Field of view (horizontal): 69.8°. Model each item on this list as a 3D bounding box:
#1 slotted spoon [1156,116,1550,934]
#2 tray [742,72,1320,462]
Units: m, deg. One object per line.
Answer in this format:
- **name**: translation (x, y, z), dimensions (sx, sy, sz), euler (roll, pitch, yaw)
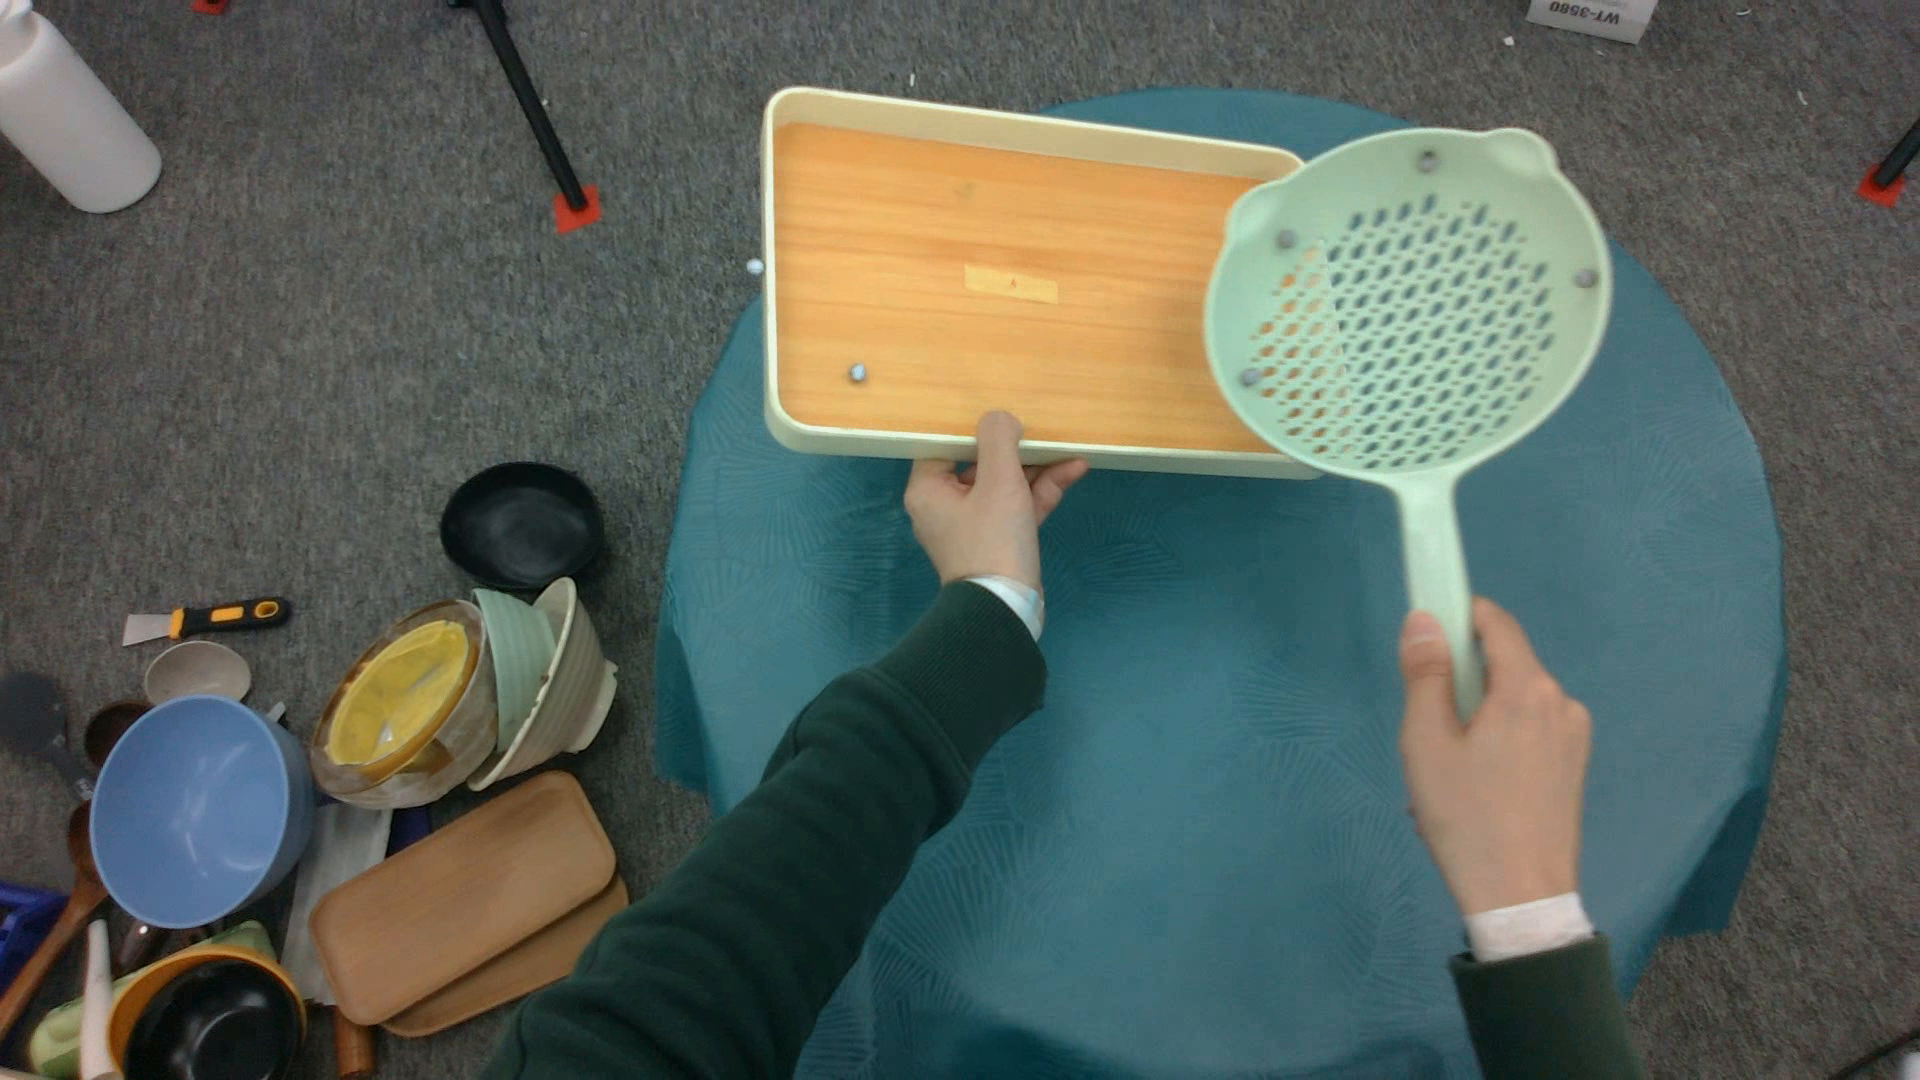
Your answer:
- **slotted spoon**: translation (0.182, -0.021, 0.592), dimensions (0.169, 0.075, 0.360), euler (-10, 61, 16)
- **tray**: translation (0.042, -0.135, 0.697), dimensions (0.301, 0.027, 0.192), euler (2, 69, -17)
